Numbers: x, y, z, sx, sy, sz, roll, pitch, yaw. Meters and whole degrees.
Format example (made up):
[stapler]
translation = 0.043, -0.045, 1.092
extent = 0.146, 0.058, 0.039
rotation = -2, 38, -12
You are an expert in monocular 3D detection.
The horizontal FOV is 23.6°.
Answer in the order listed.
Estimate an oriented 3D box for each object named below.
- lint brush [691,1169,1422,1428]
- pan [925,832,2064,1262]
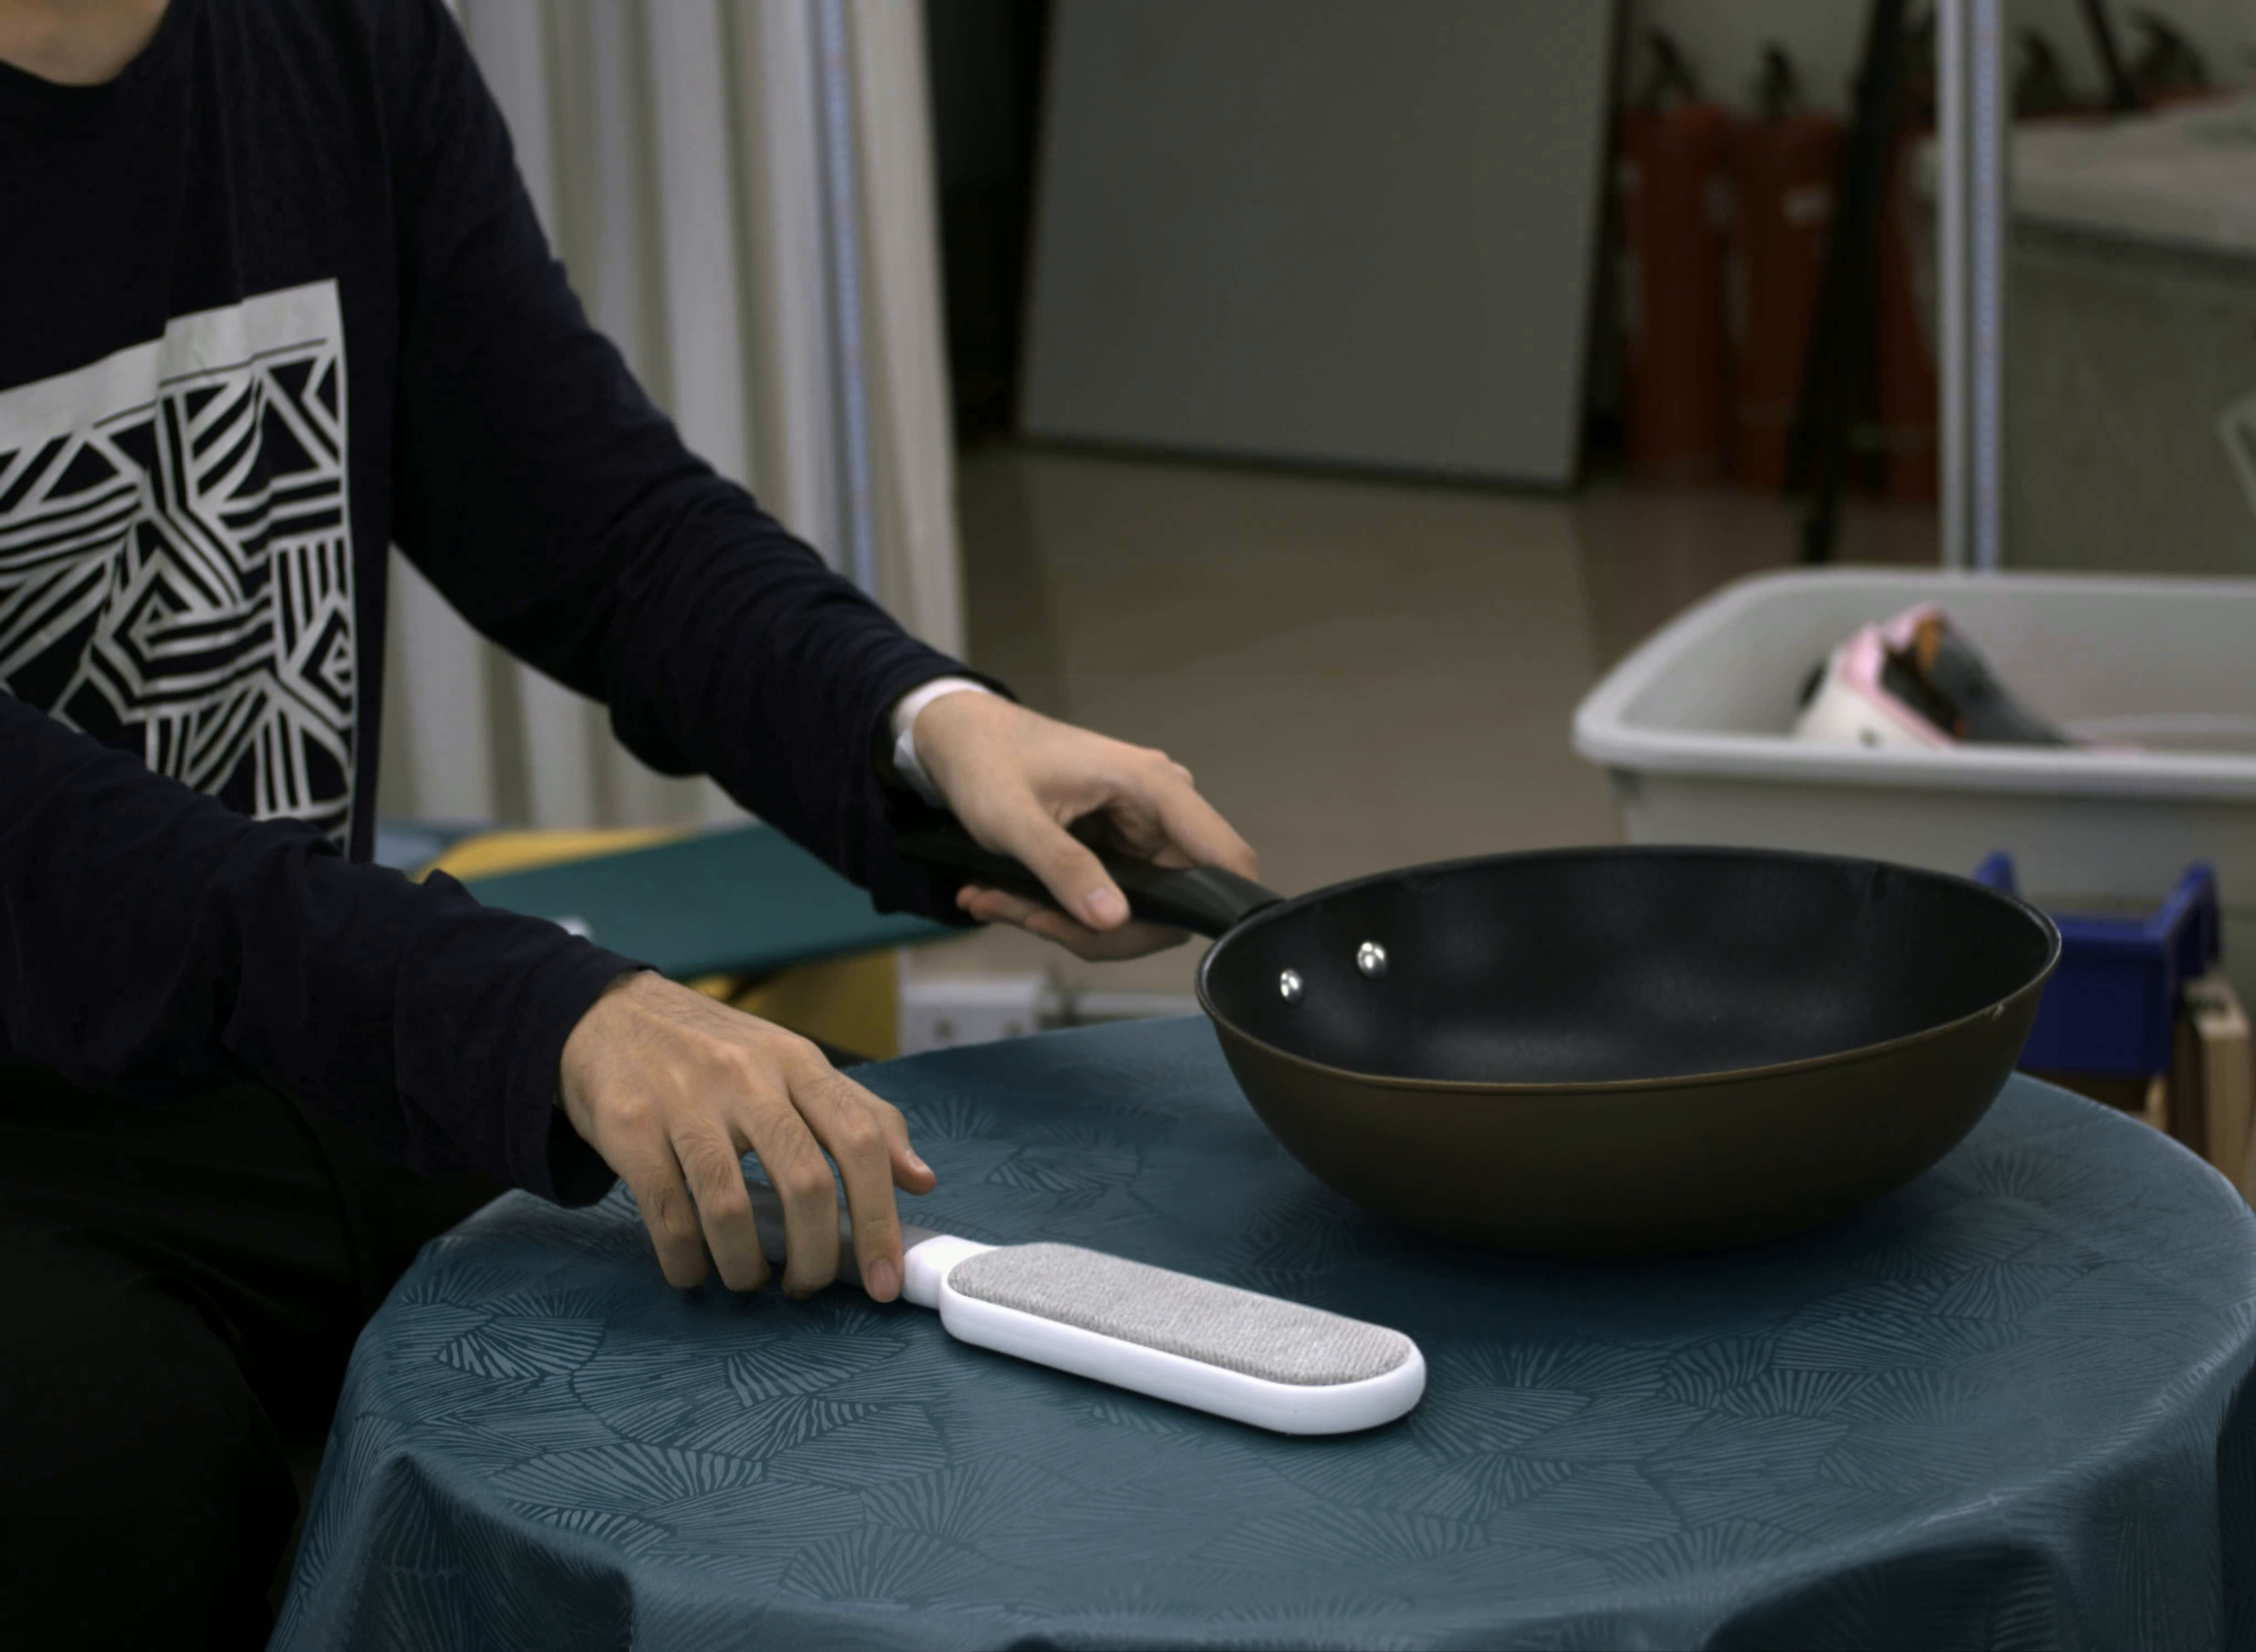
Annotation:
[lint brush]
translation = -0.029, 0.140, 1.644
extent = 0.059, 0.021, 0.312
rotation = -25, 24, -39
[pan]
translation = 0.095, 0.067, 1.792
extent = 0.467, 0.088, 0.282
rotation = 9, 18, 44
